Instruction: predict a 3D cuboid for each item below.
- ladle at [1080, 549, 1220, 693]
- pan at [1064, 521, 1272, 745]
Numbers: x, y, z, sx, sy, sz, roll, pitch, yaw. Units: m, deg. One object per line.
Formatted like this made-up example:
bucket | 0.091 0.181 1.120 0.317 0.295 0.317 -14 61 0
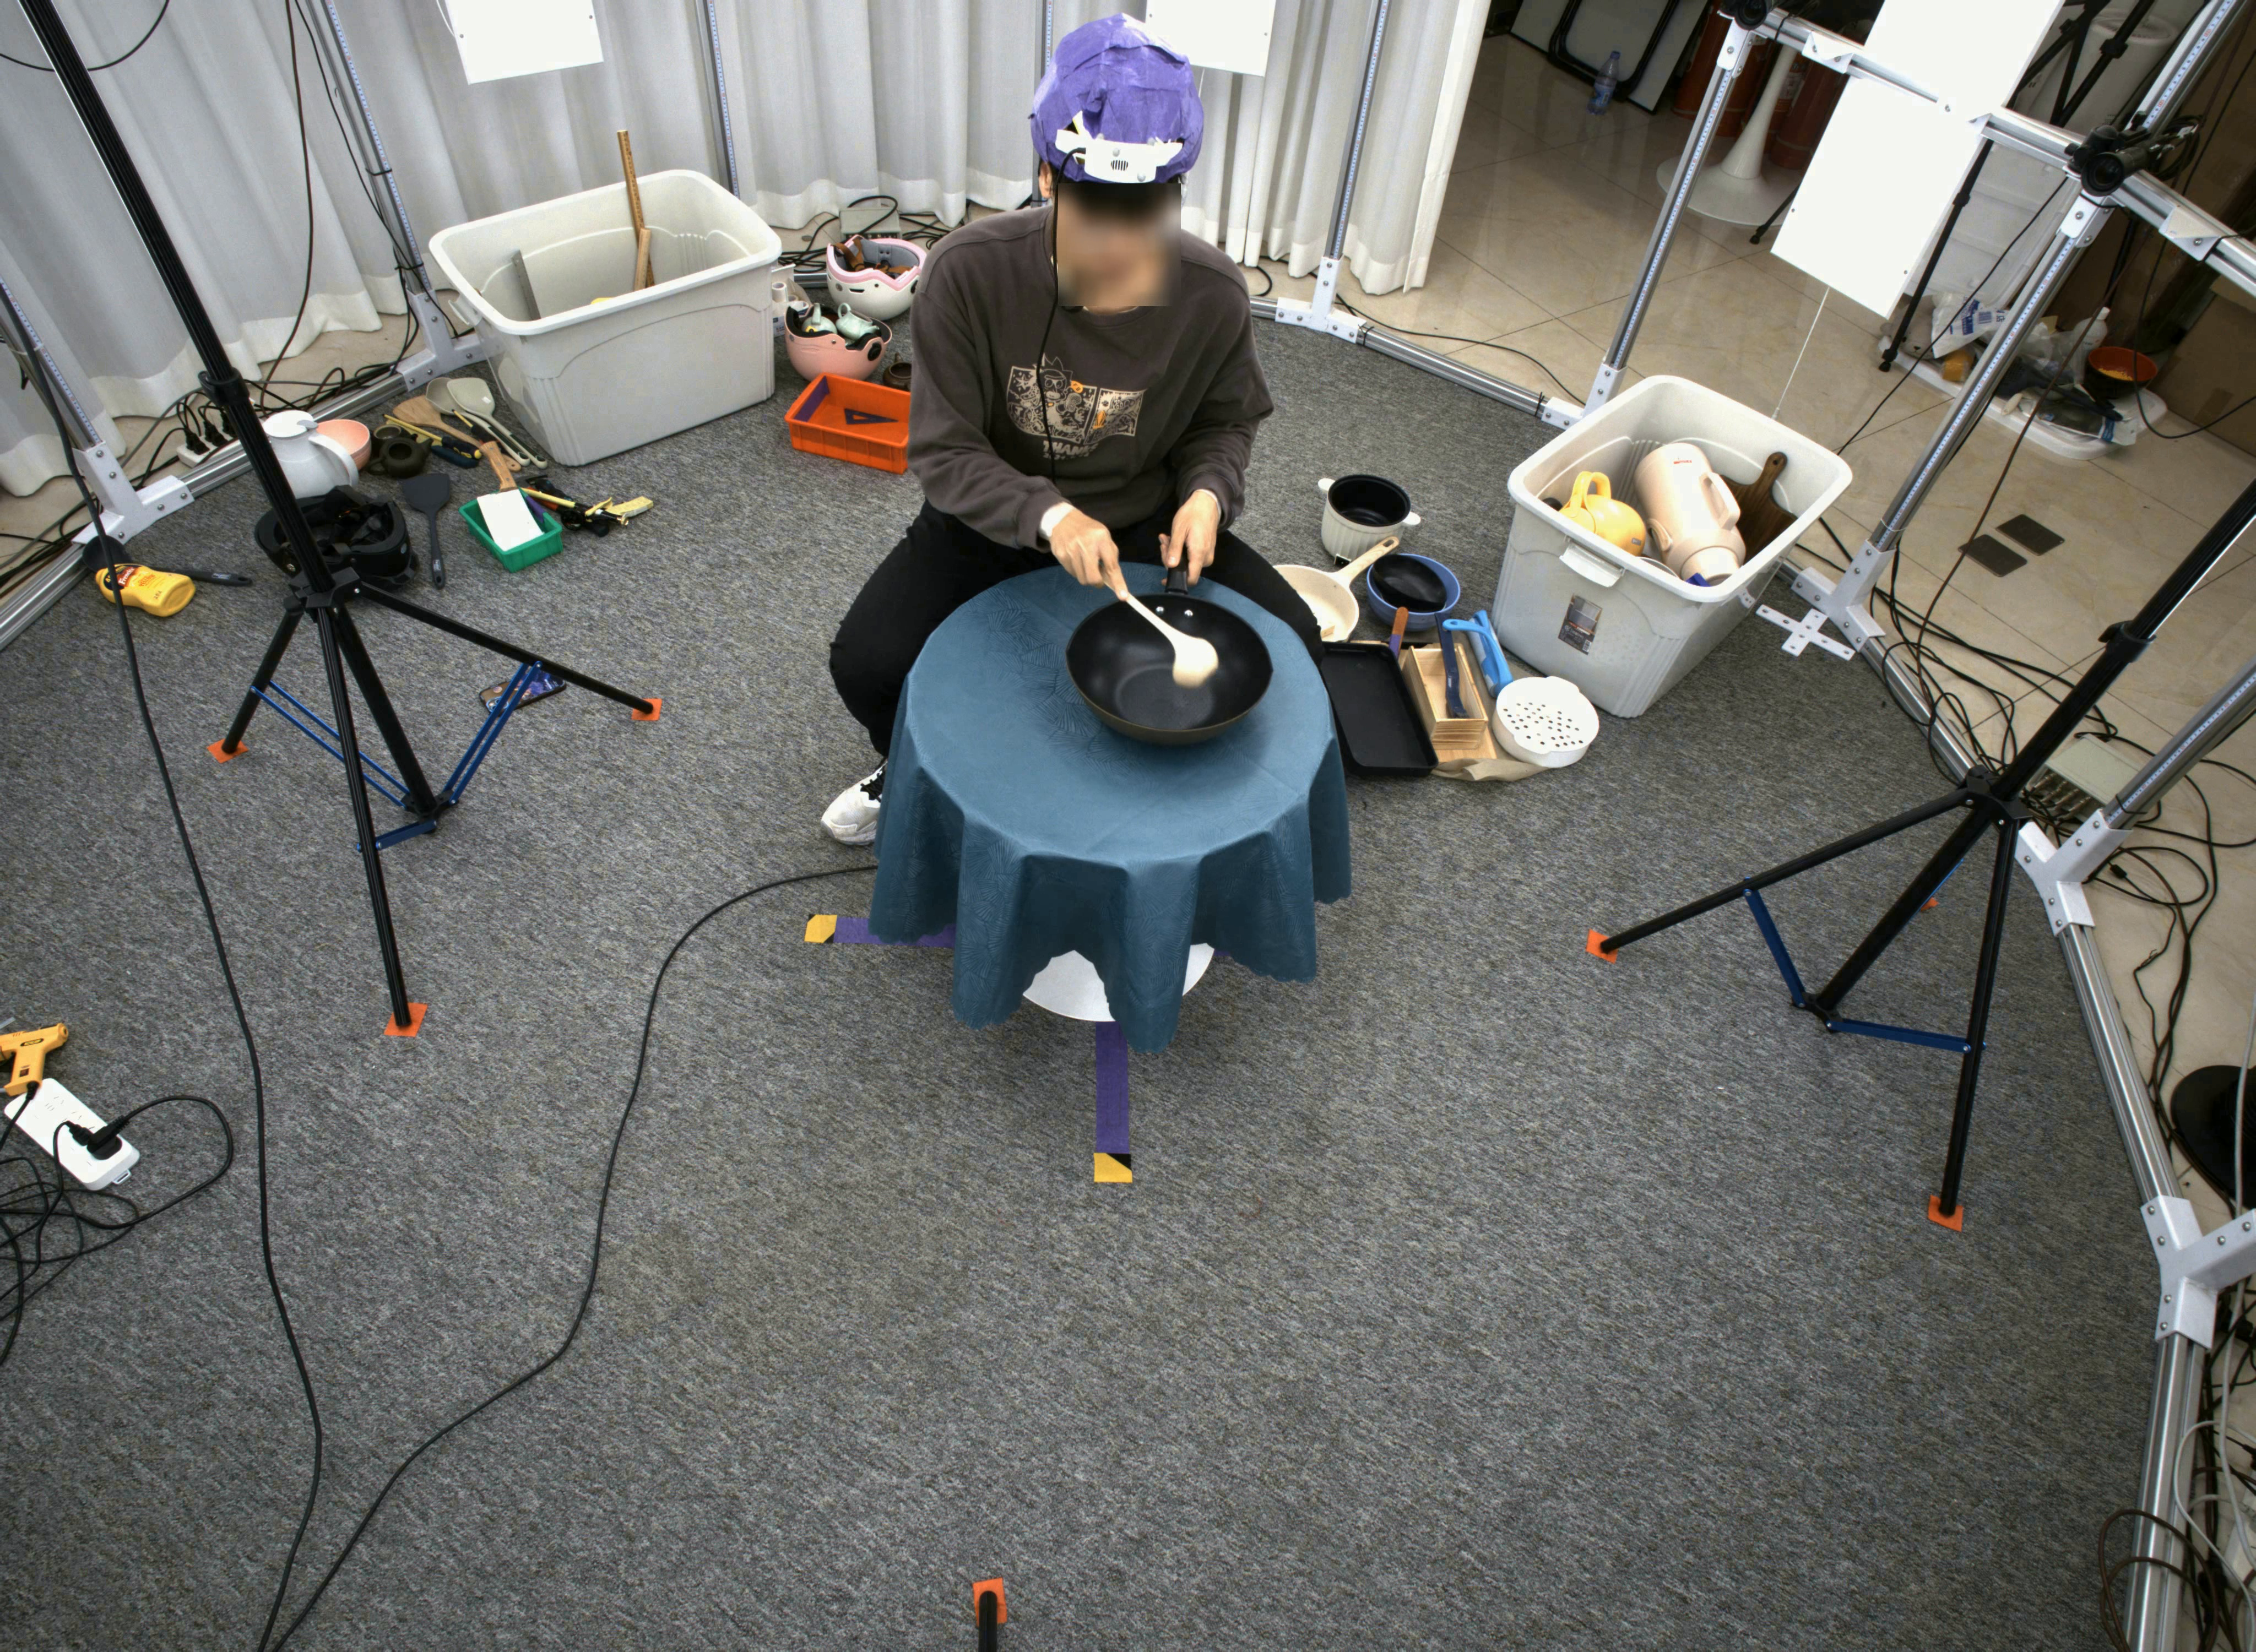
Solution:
ladle | 0.025 -0.283 1.779 0.072 0.071 0.257 -42 73 -11
pan | 0.062 -0.274 1.855 0.288 0.085 0.474 6 48 2
